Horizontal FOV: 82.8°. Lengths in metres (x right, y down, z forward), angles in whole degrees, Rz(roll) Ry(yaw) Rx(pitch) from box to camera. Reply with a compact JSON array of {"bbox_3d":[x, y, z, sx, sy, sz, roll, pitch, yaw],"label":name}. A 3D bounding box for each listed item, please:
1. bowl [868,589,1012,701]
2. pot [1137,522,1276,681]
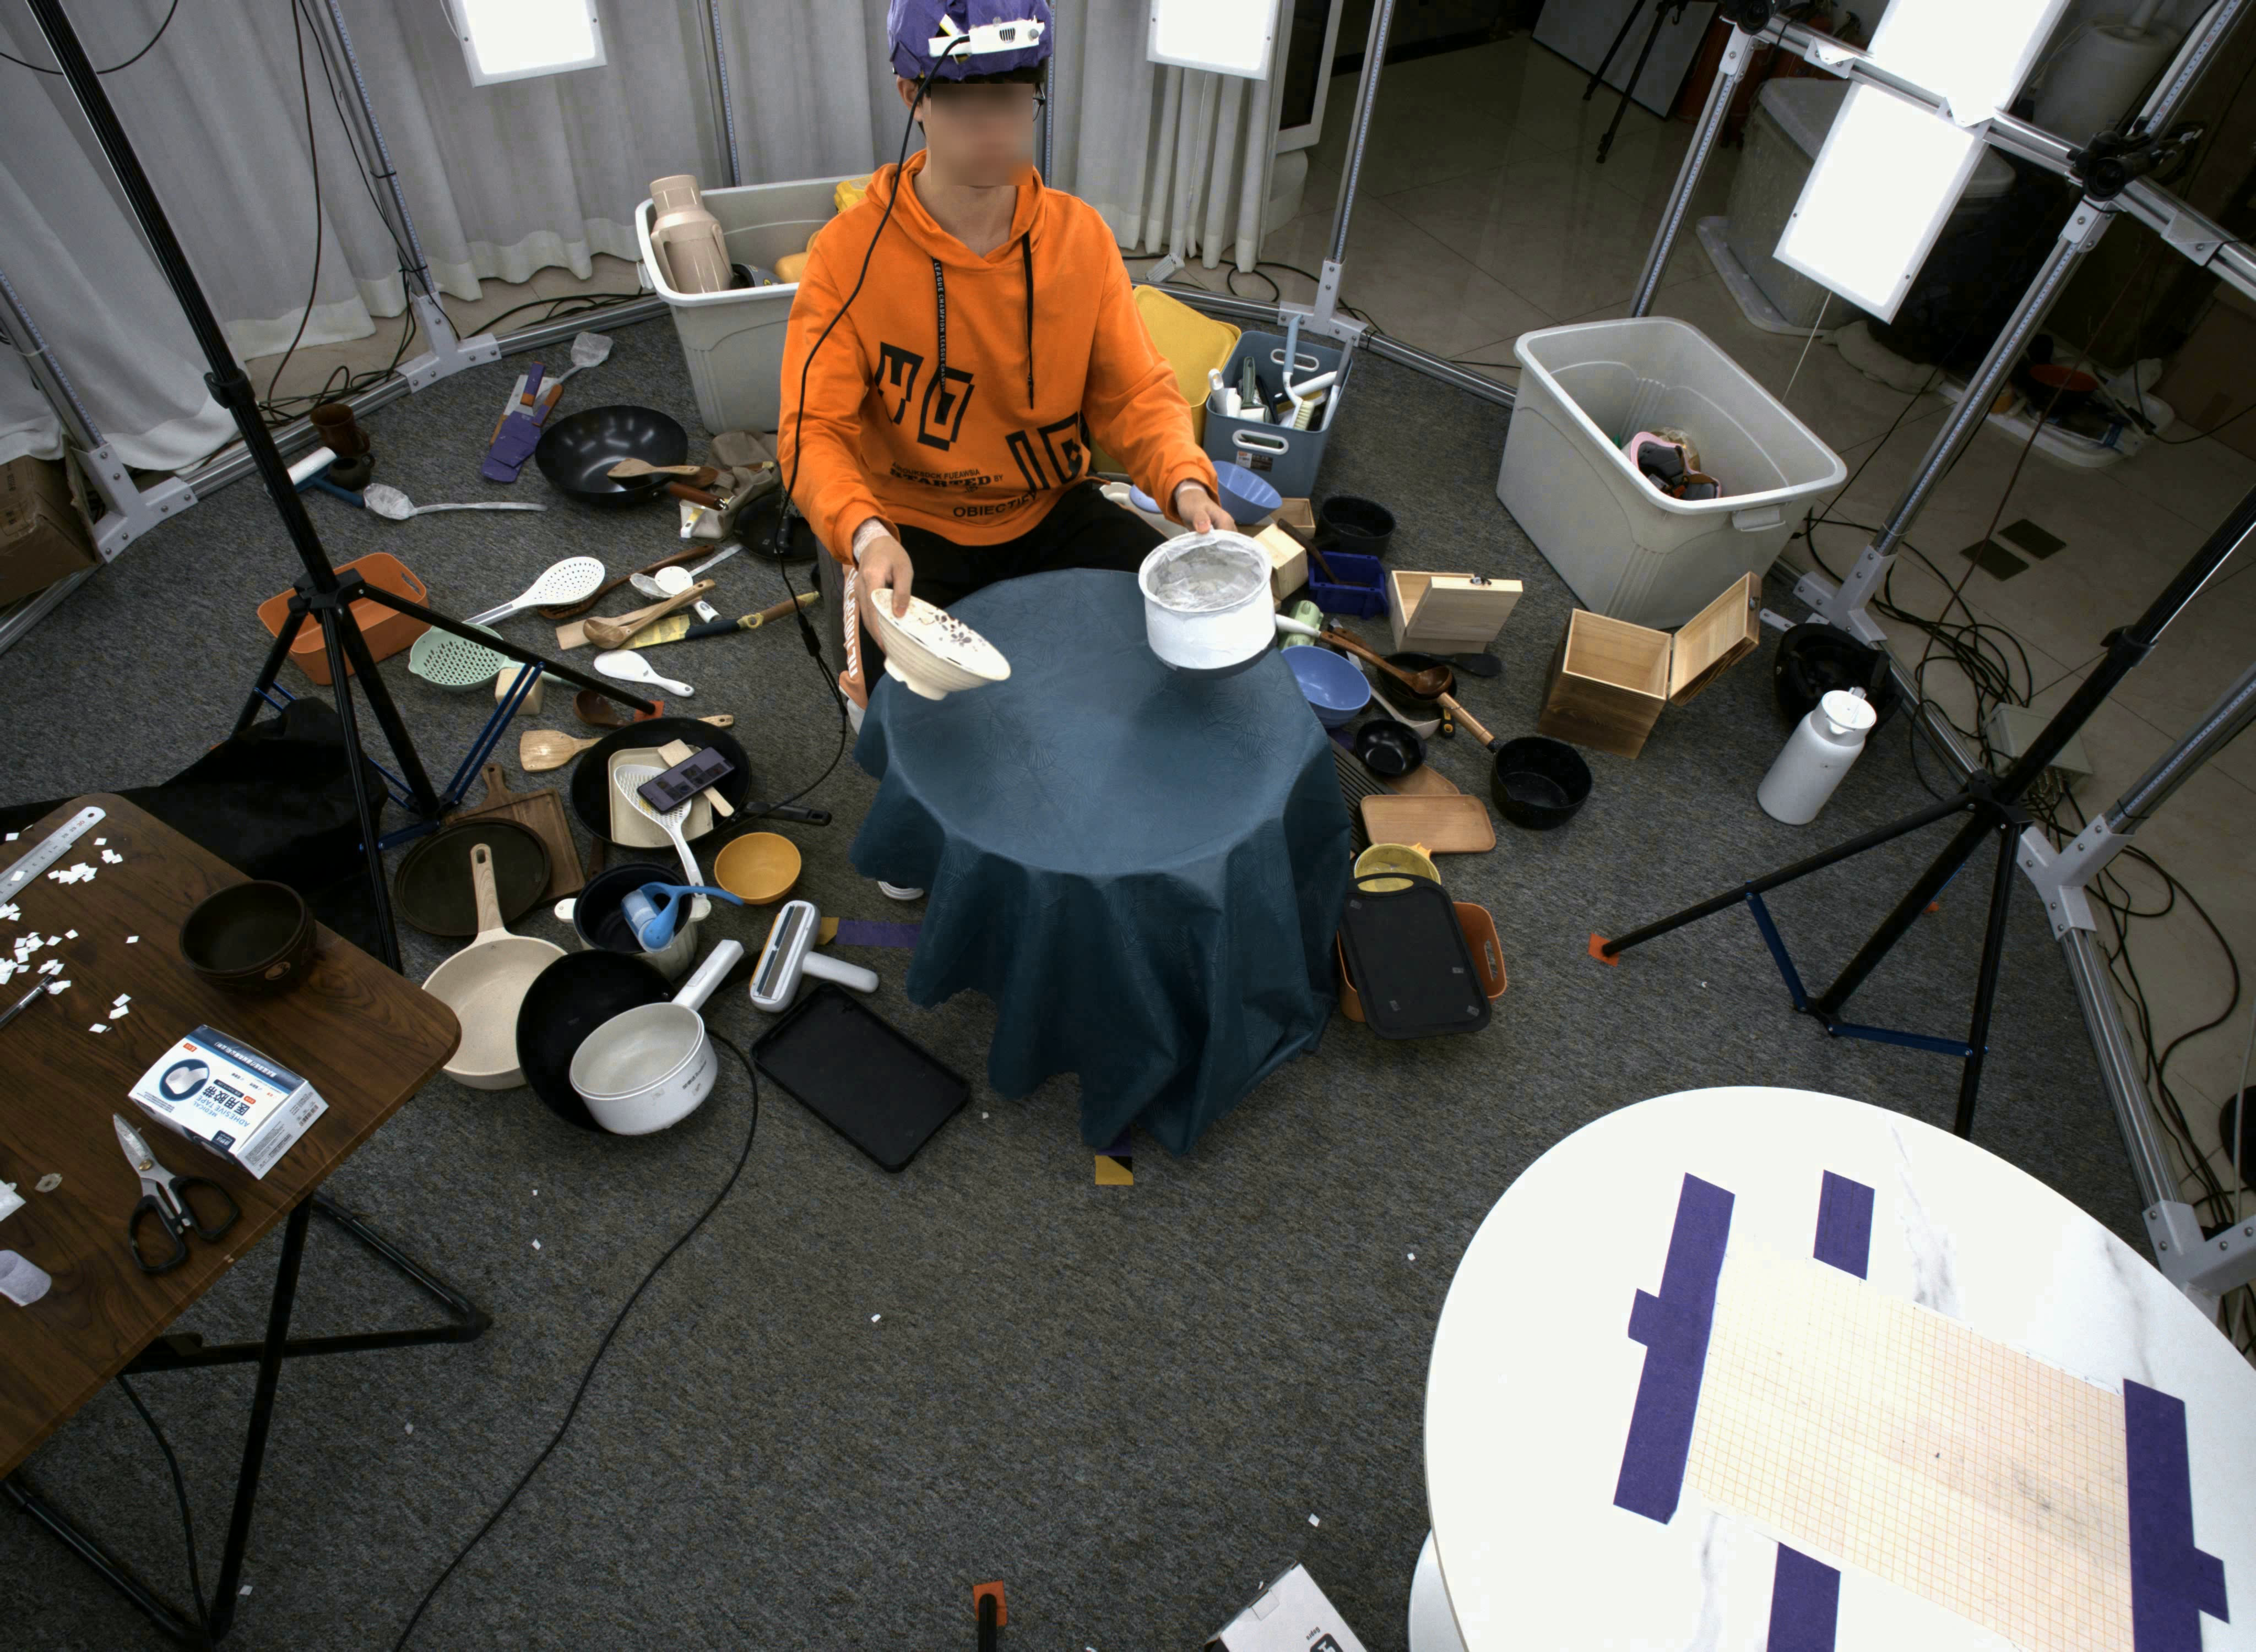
[{"bbox_3d":[-0.254,-0.215,1.639,0.203,0.077,0.207,30,16,-9],"label":"bowl"},{"bbox_3d":[0.109,-0.314,1.746,0.179,0.133,0.239,-4,46,5],"label":"pot"}]
